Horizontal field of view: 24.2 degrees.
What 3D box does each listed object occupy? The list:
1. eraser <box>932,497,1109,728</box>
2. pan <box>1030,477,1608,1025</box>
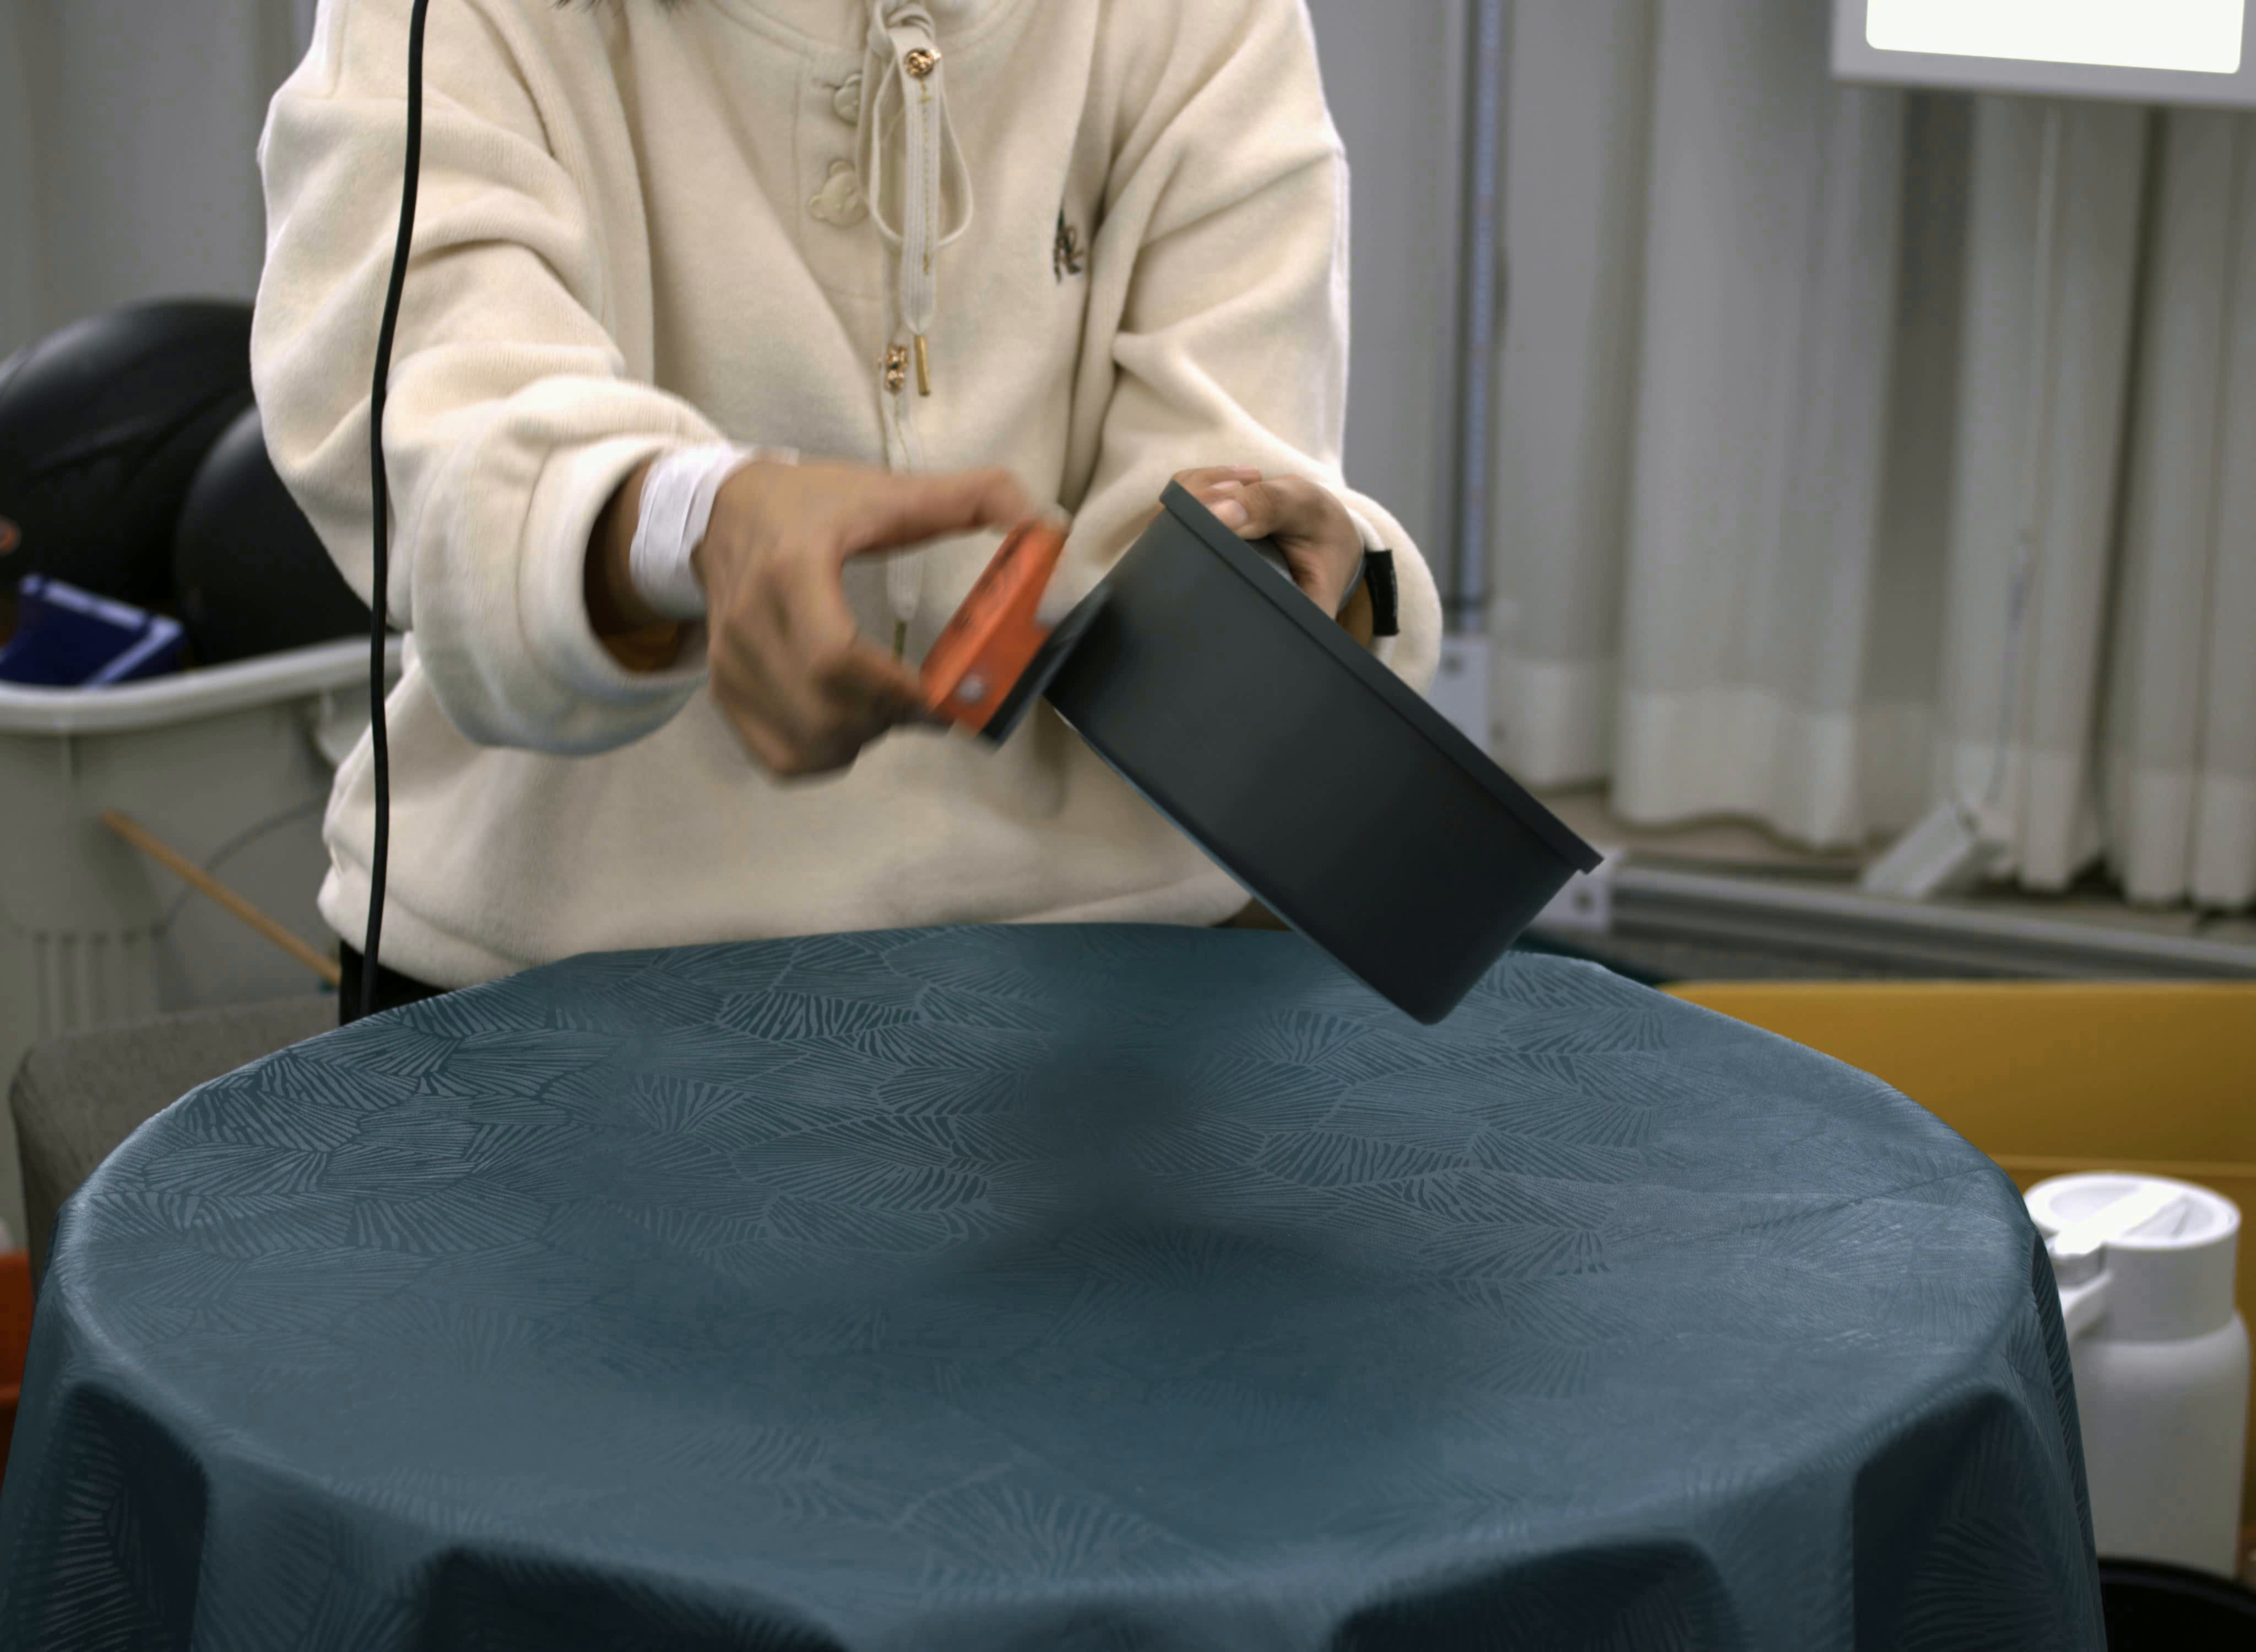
[{"bbox_3d":[-0.032,-0.064,1.546,0.023,0.059,0.107,33,5,-9],"label":"eraser"},{"bbox_3d":[0.043,-0.038,1.636,0.173,0.086,0.326,41,4,-14],"label":"pan"}]
